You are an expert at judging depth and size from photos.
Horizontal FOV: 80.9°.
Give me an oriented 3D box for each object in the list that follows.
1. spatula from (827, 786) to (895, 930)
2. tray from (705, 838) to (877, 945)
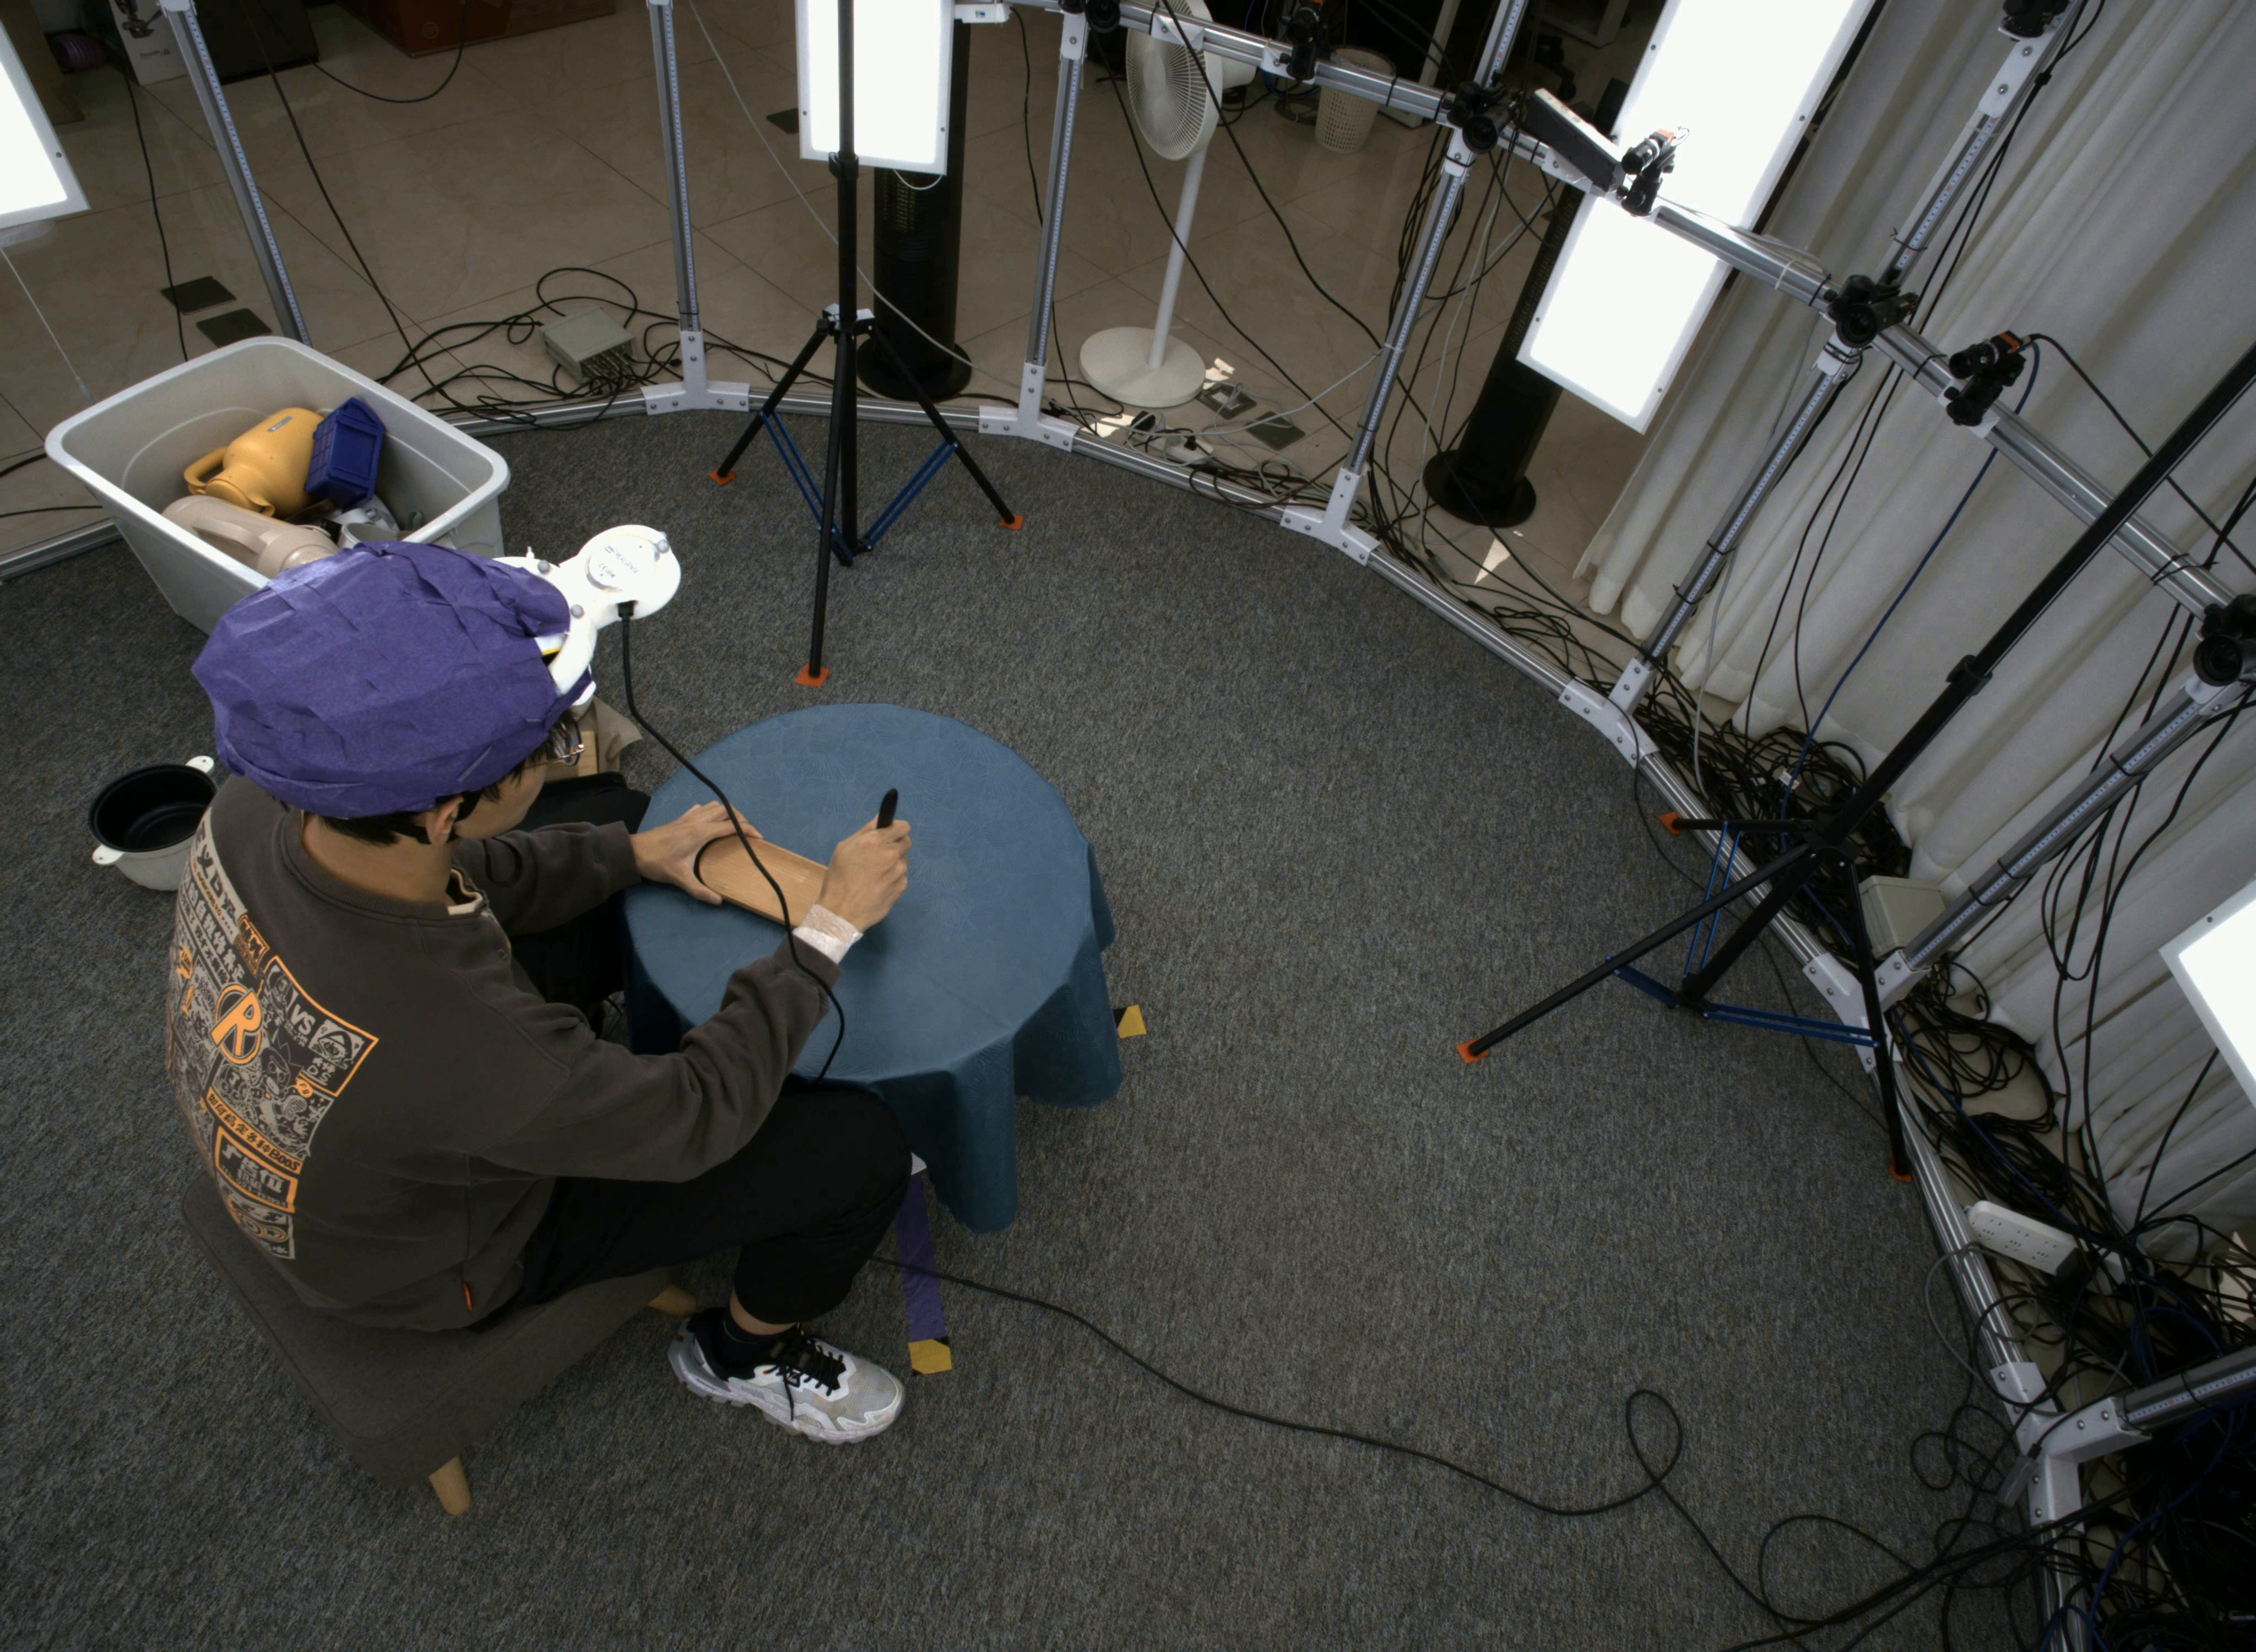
[{"bbox_3d":[-0.299,0.033,1.513,0.040,0.330,0.100,41,58,11],"label":"spatula"},{"bbox_3d":[-0.433,0.082,1.662,0.229,0.020,0.101,23,50,0],"label":"tray"}]
